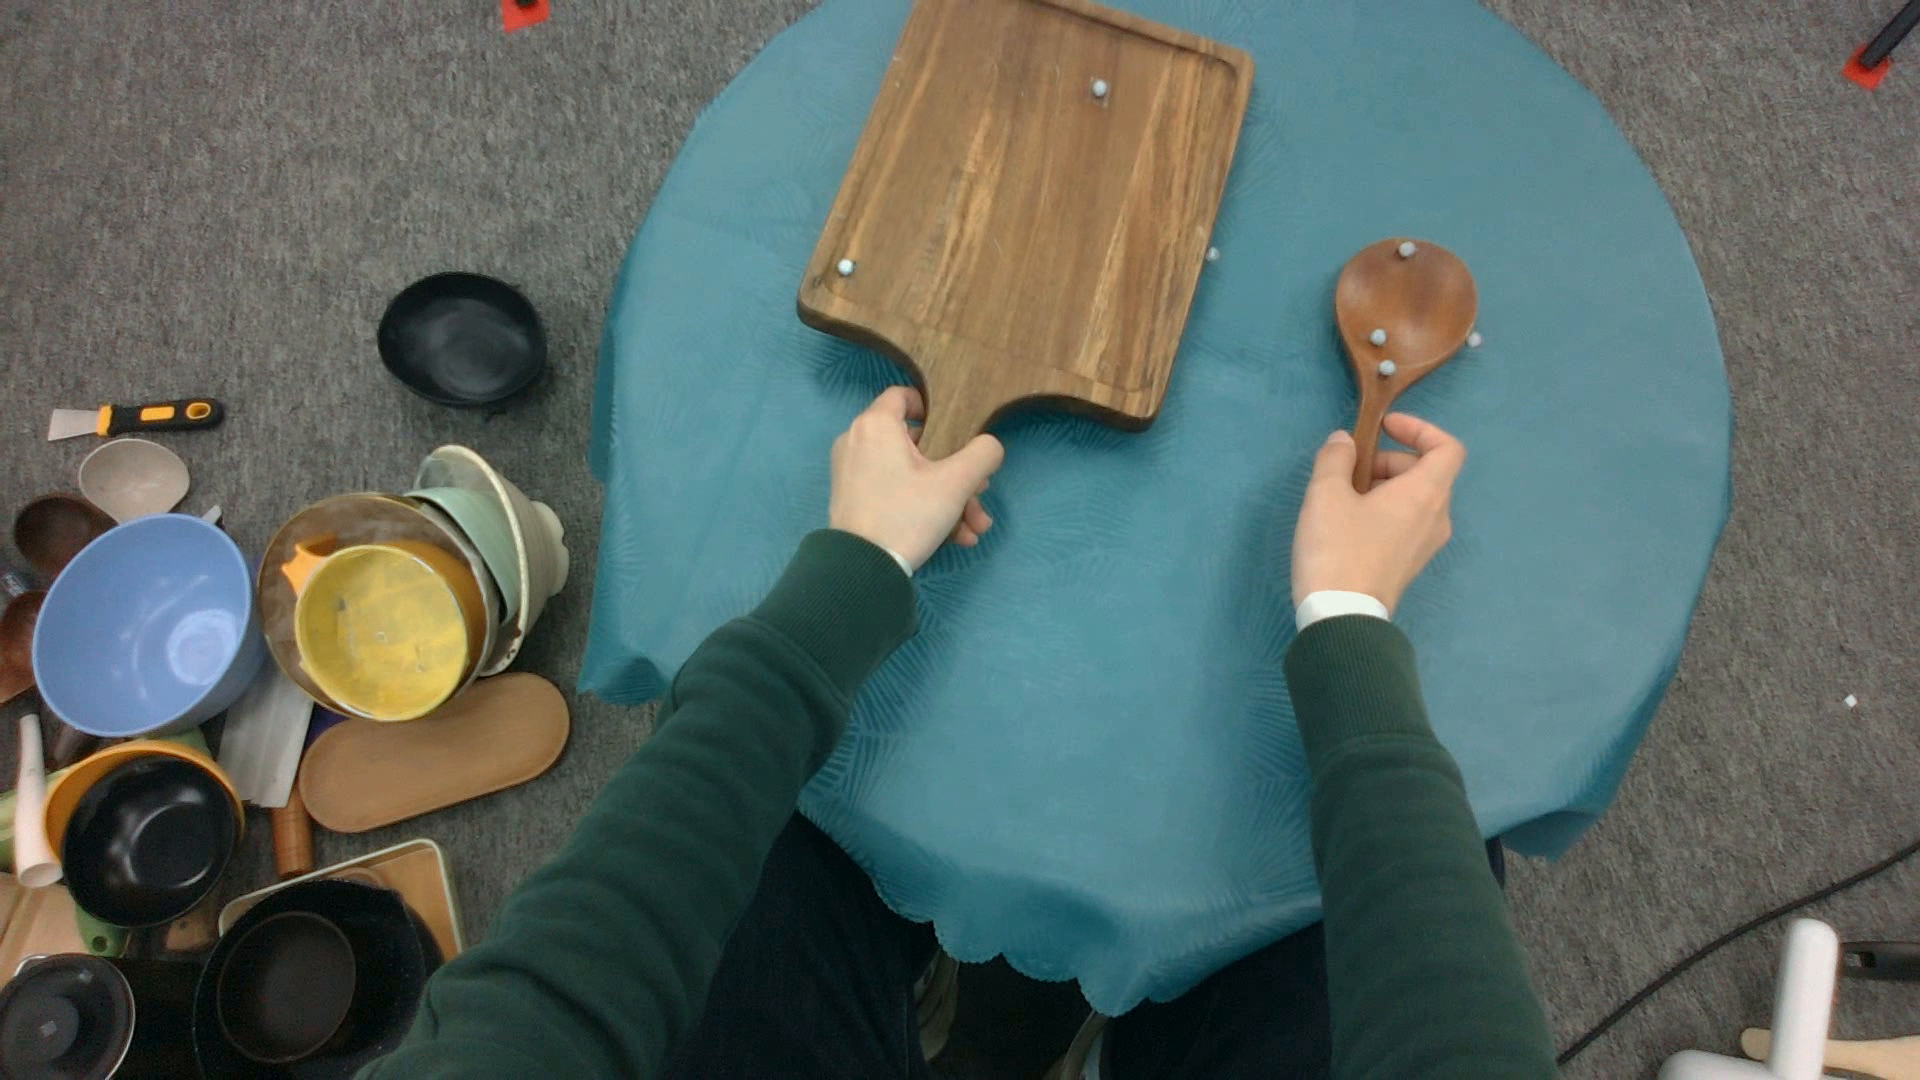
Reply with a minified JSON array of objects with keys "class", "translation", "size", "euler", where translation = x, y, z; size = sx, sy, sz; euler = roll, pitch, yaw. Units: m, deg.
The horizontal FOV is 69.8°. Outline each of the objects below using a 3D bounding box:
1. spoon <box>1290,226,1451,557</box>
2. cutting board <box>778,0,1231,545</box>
[{"class":"spoon","translation":[0.205,-0.081,0.713],"size":[0.075,0.017,0.217],"euler":[19,61,6]},{"class":"cutting board","translation":[0.018,-0.158,0.732],"size":[0.201,0.023,0.353],"euler":[18,67,-1]}]
